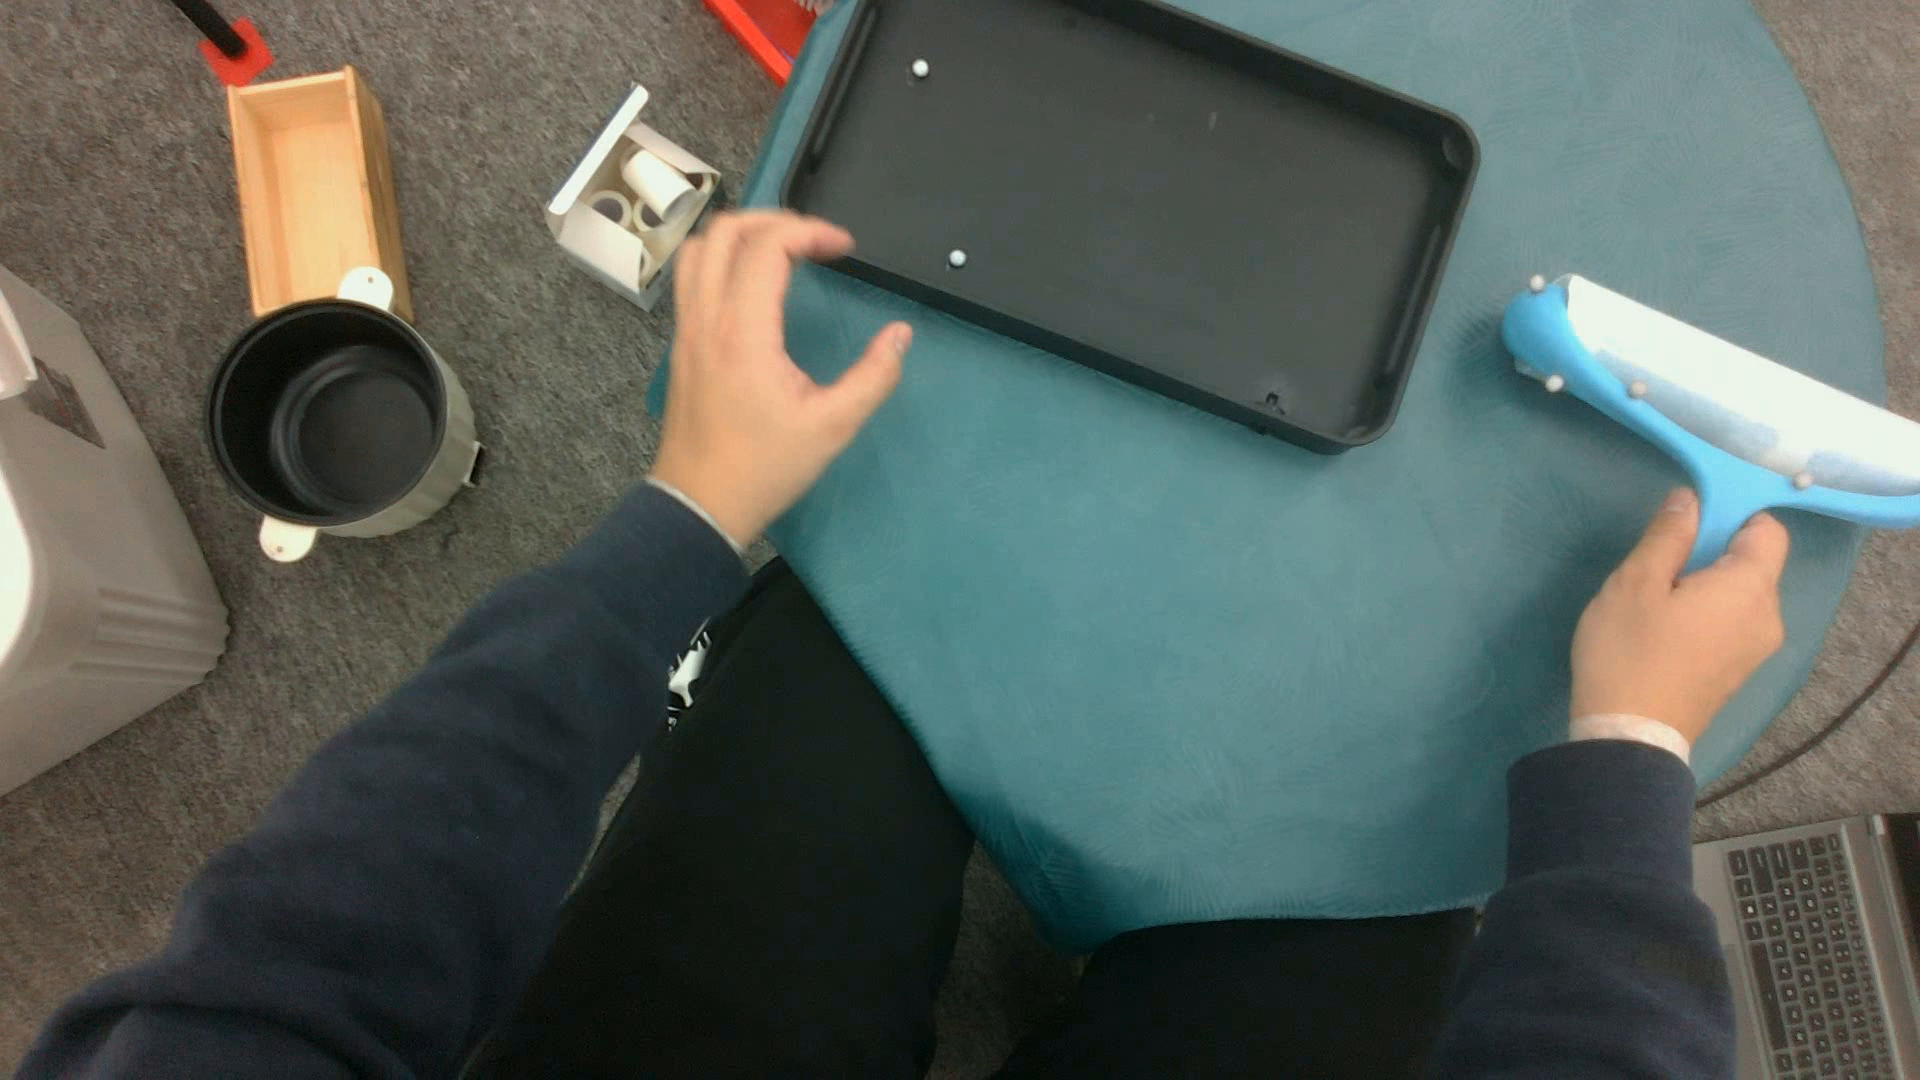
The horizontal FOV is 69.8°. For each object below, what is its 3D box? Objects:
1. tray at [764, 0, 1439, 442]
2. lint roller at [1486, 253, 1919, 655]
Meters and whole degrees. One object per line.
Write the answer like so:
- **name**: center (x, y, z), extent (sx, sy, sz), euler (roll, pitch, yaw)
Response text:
- **tray**: center (0.075, -0.178, 0.705), extent (0.318, 0.037, 0.184), euler (17, 80, -3)
- **lint roller**: center (0.357, -0.032, 0.672), extent (0.229, 0.067, 0.181), euler (19, 70, -3)
